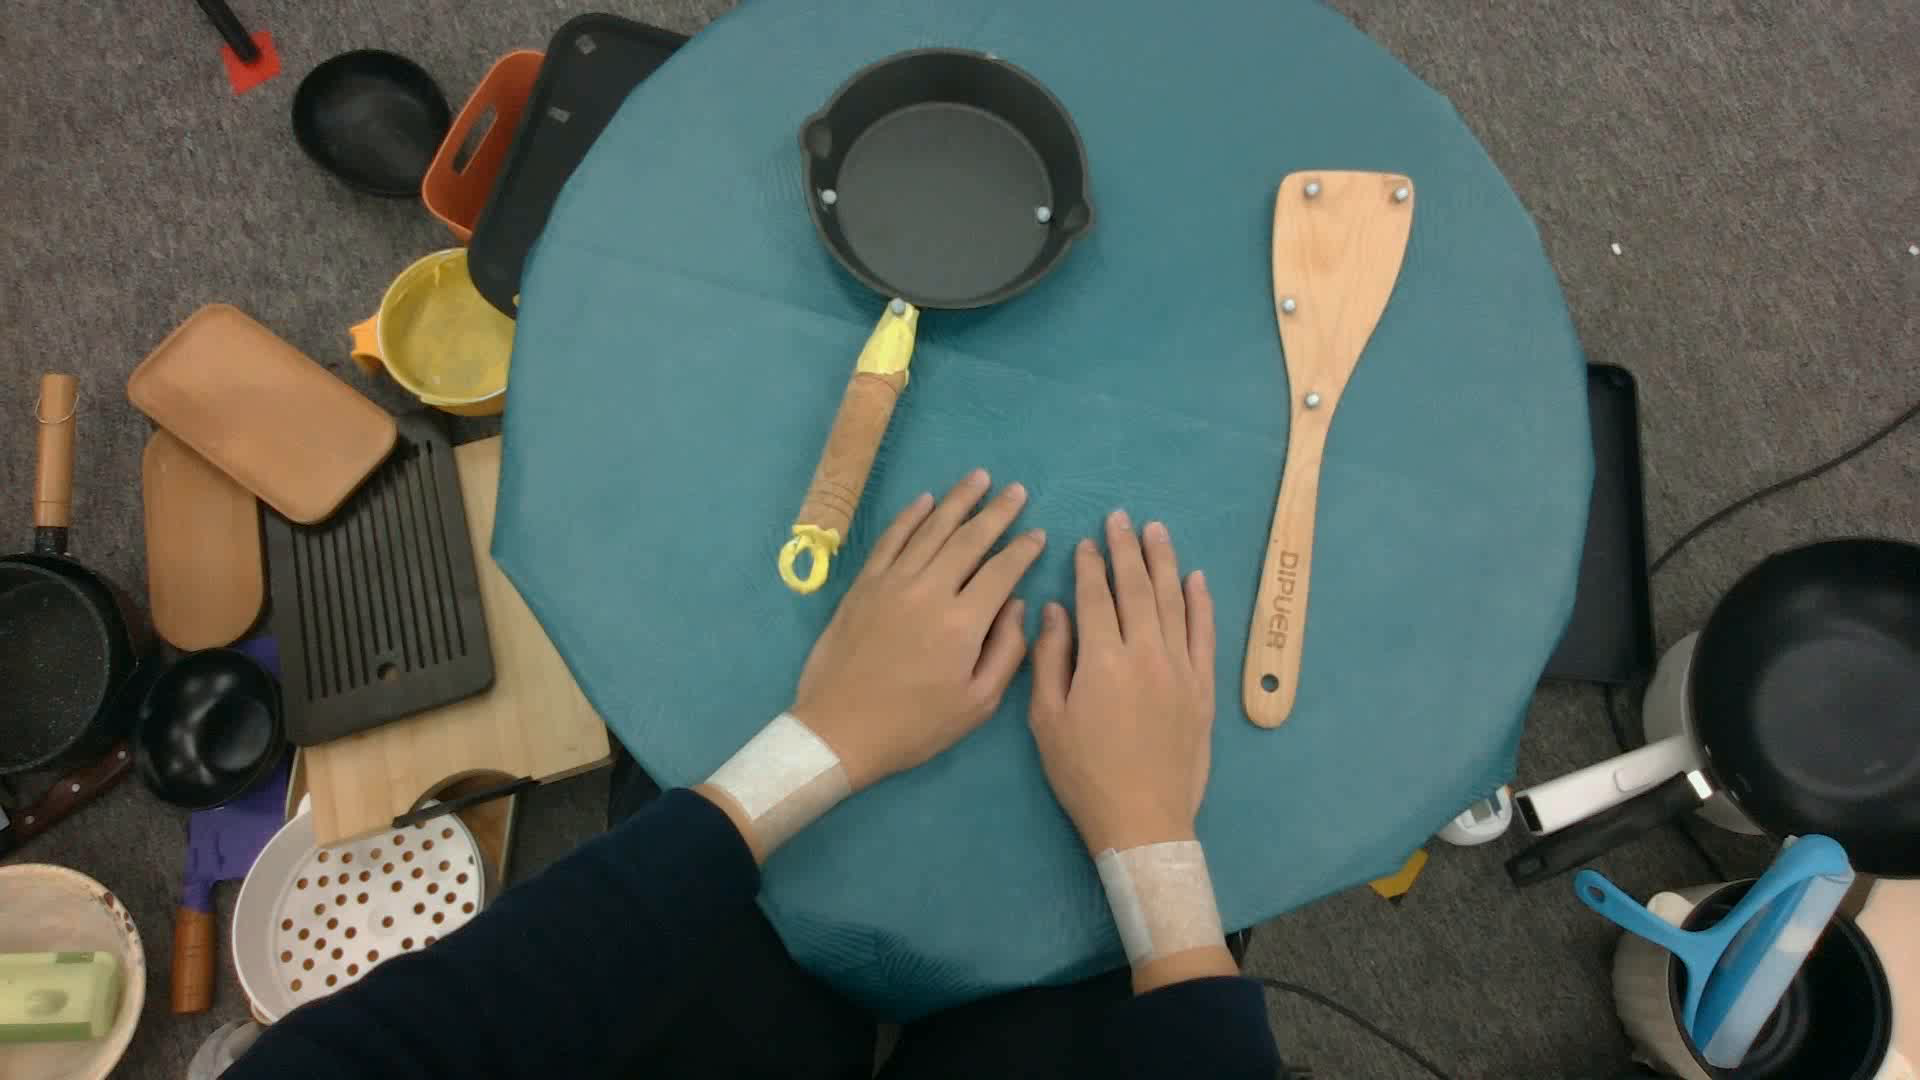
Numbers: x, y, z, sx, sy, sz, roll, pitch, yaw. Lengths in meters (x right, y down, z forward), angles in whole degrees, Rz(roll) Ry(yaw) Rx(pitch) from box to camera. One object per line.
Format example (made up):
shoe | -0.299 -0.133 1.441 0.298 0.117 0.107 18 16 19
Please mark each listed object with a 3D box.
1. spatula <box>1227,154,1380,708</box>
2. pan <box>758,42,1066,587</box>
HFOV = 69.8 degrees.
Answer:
spatula | 0.178 -0.070 0.758 0.080 0.016 0.328 10 74 -1
pan | -0.049 -0.124 0.737 0.169 0.049 0.325 18 73 0
